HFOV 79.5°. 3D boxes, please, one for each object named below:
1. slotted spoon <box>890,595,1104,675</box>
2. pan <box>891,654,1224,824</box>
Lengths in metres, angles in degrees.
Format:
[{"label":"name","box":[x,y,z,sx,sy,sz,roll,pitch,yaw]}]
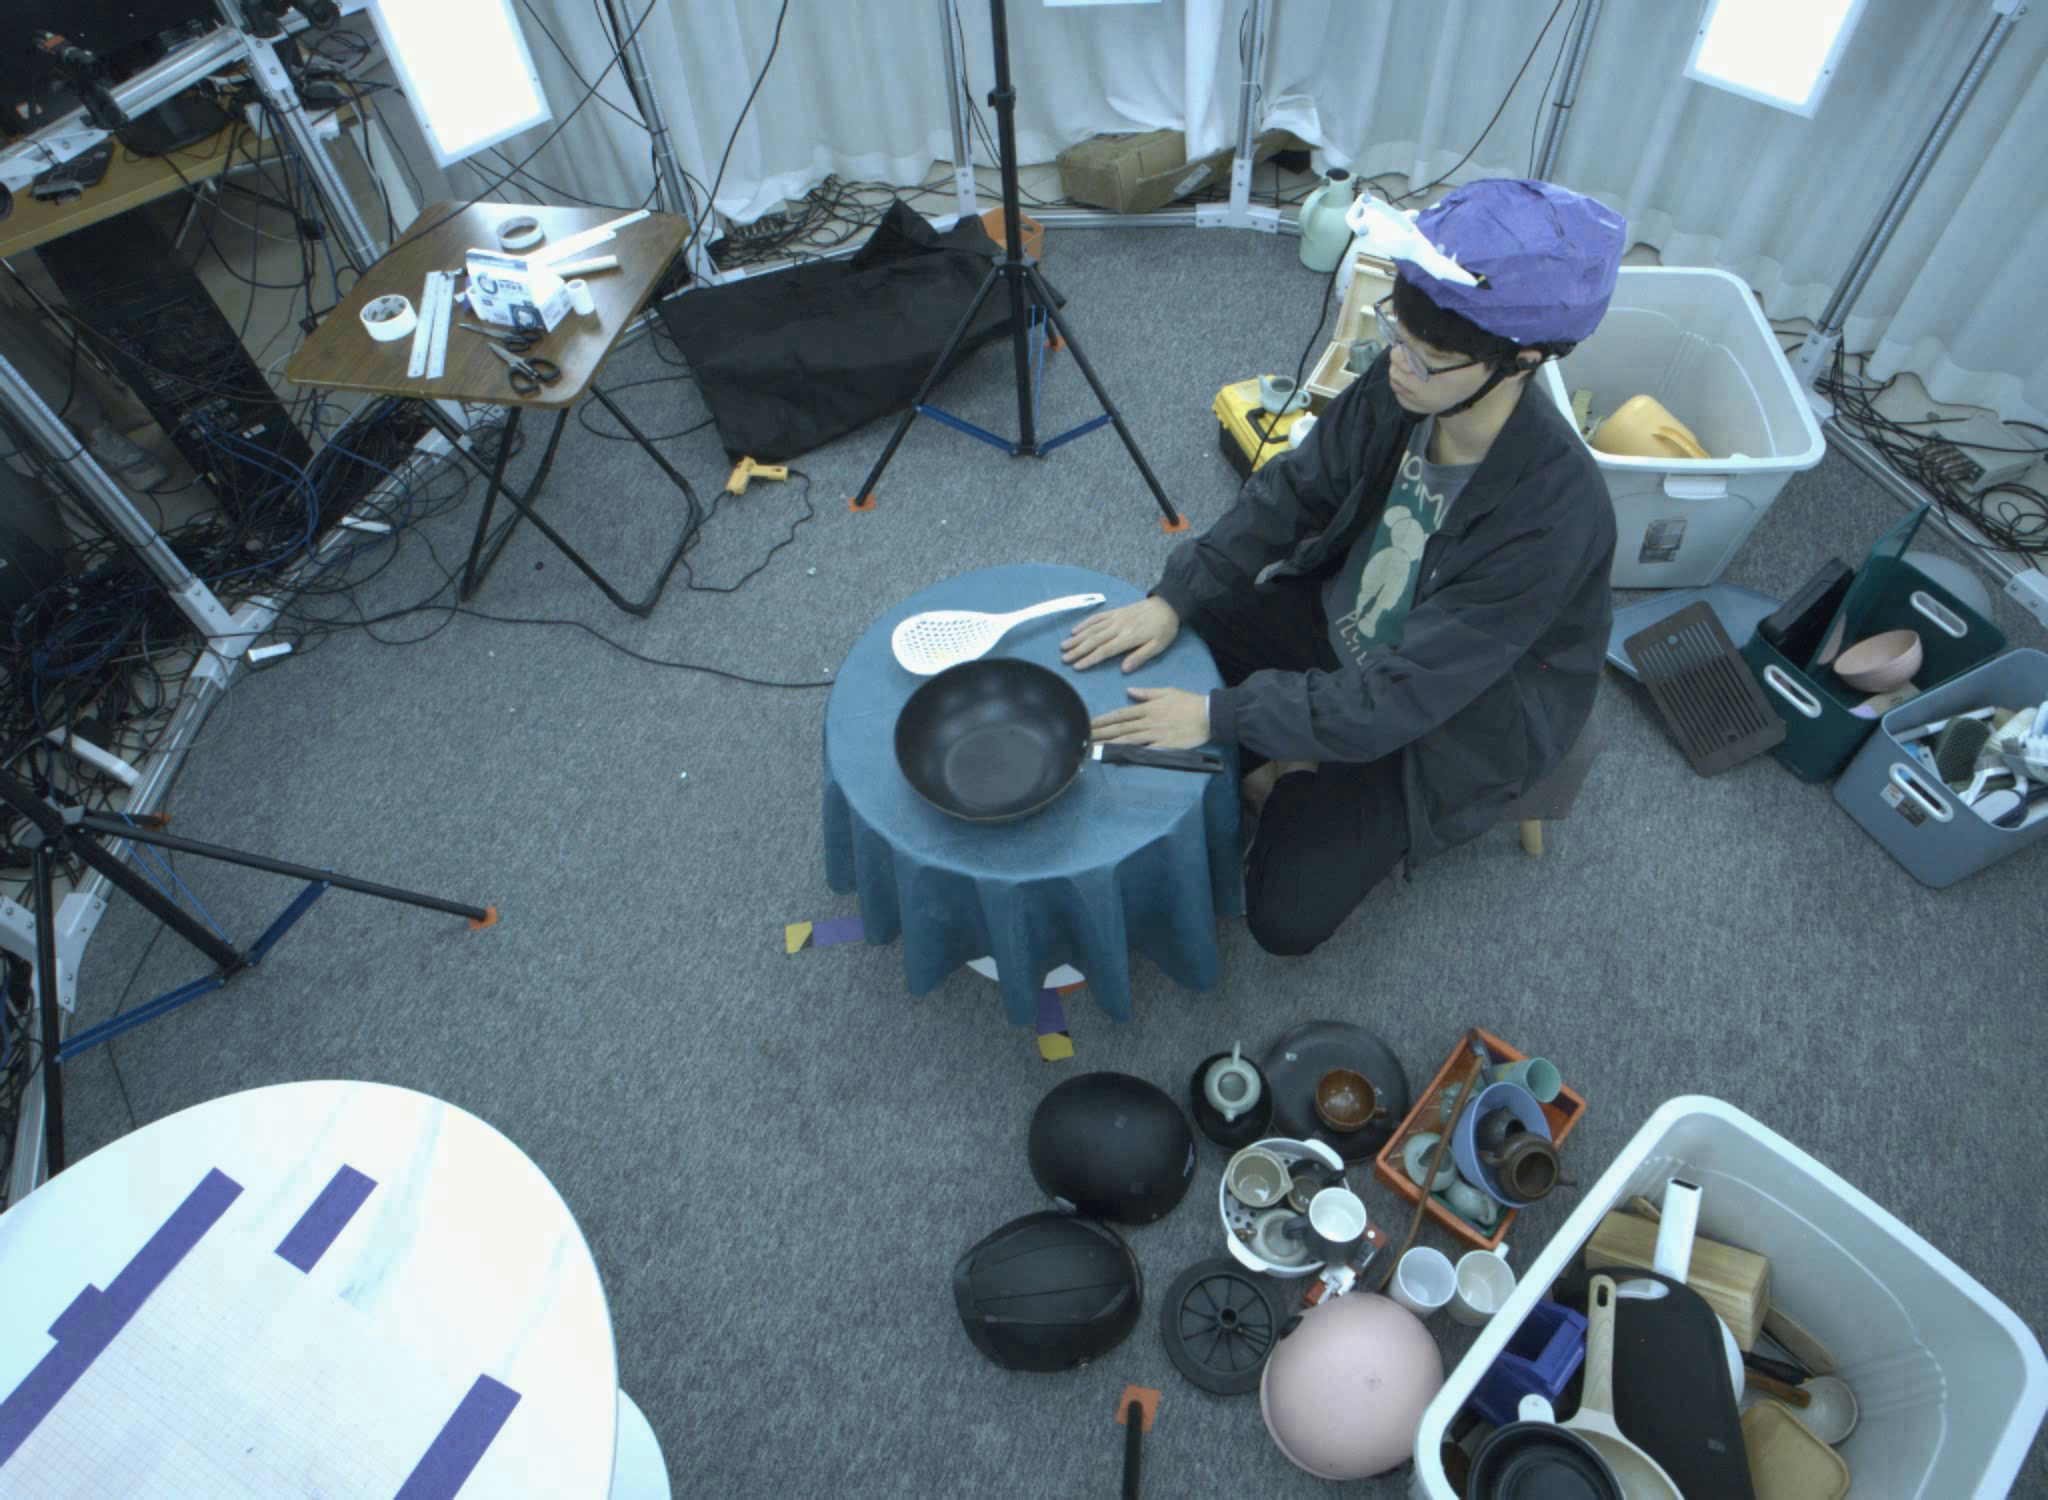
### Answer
[{"label":"slotted spoon","box":[-0.034,-0.191,1.891,0.350,0.051,0.134,-20,53,-12]},{"label":"pan","box":[0.046,0.010,1.720,0.461,0.088,0.286,8,56,7]}]
